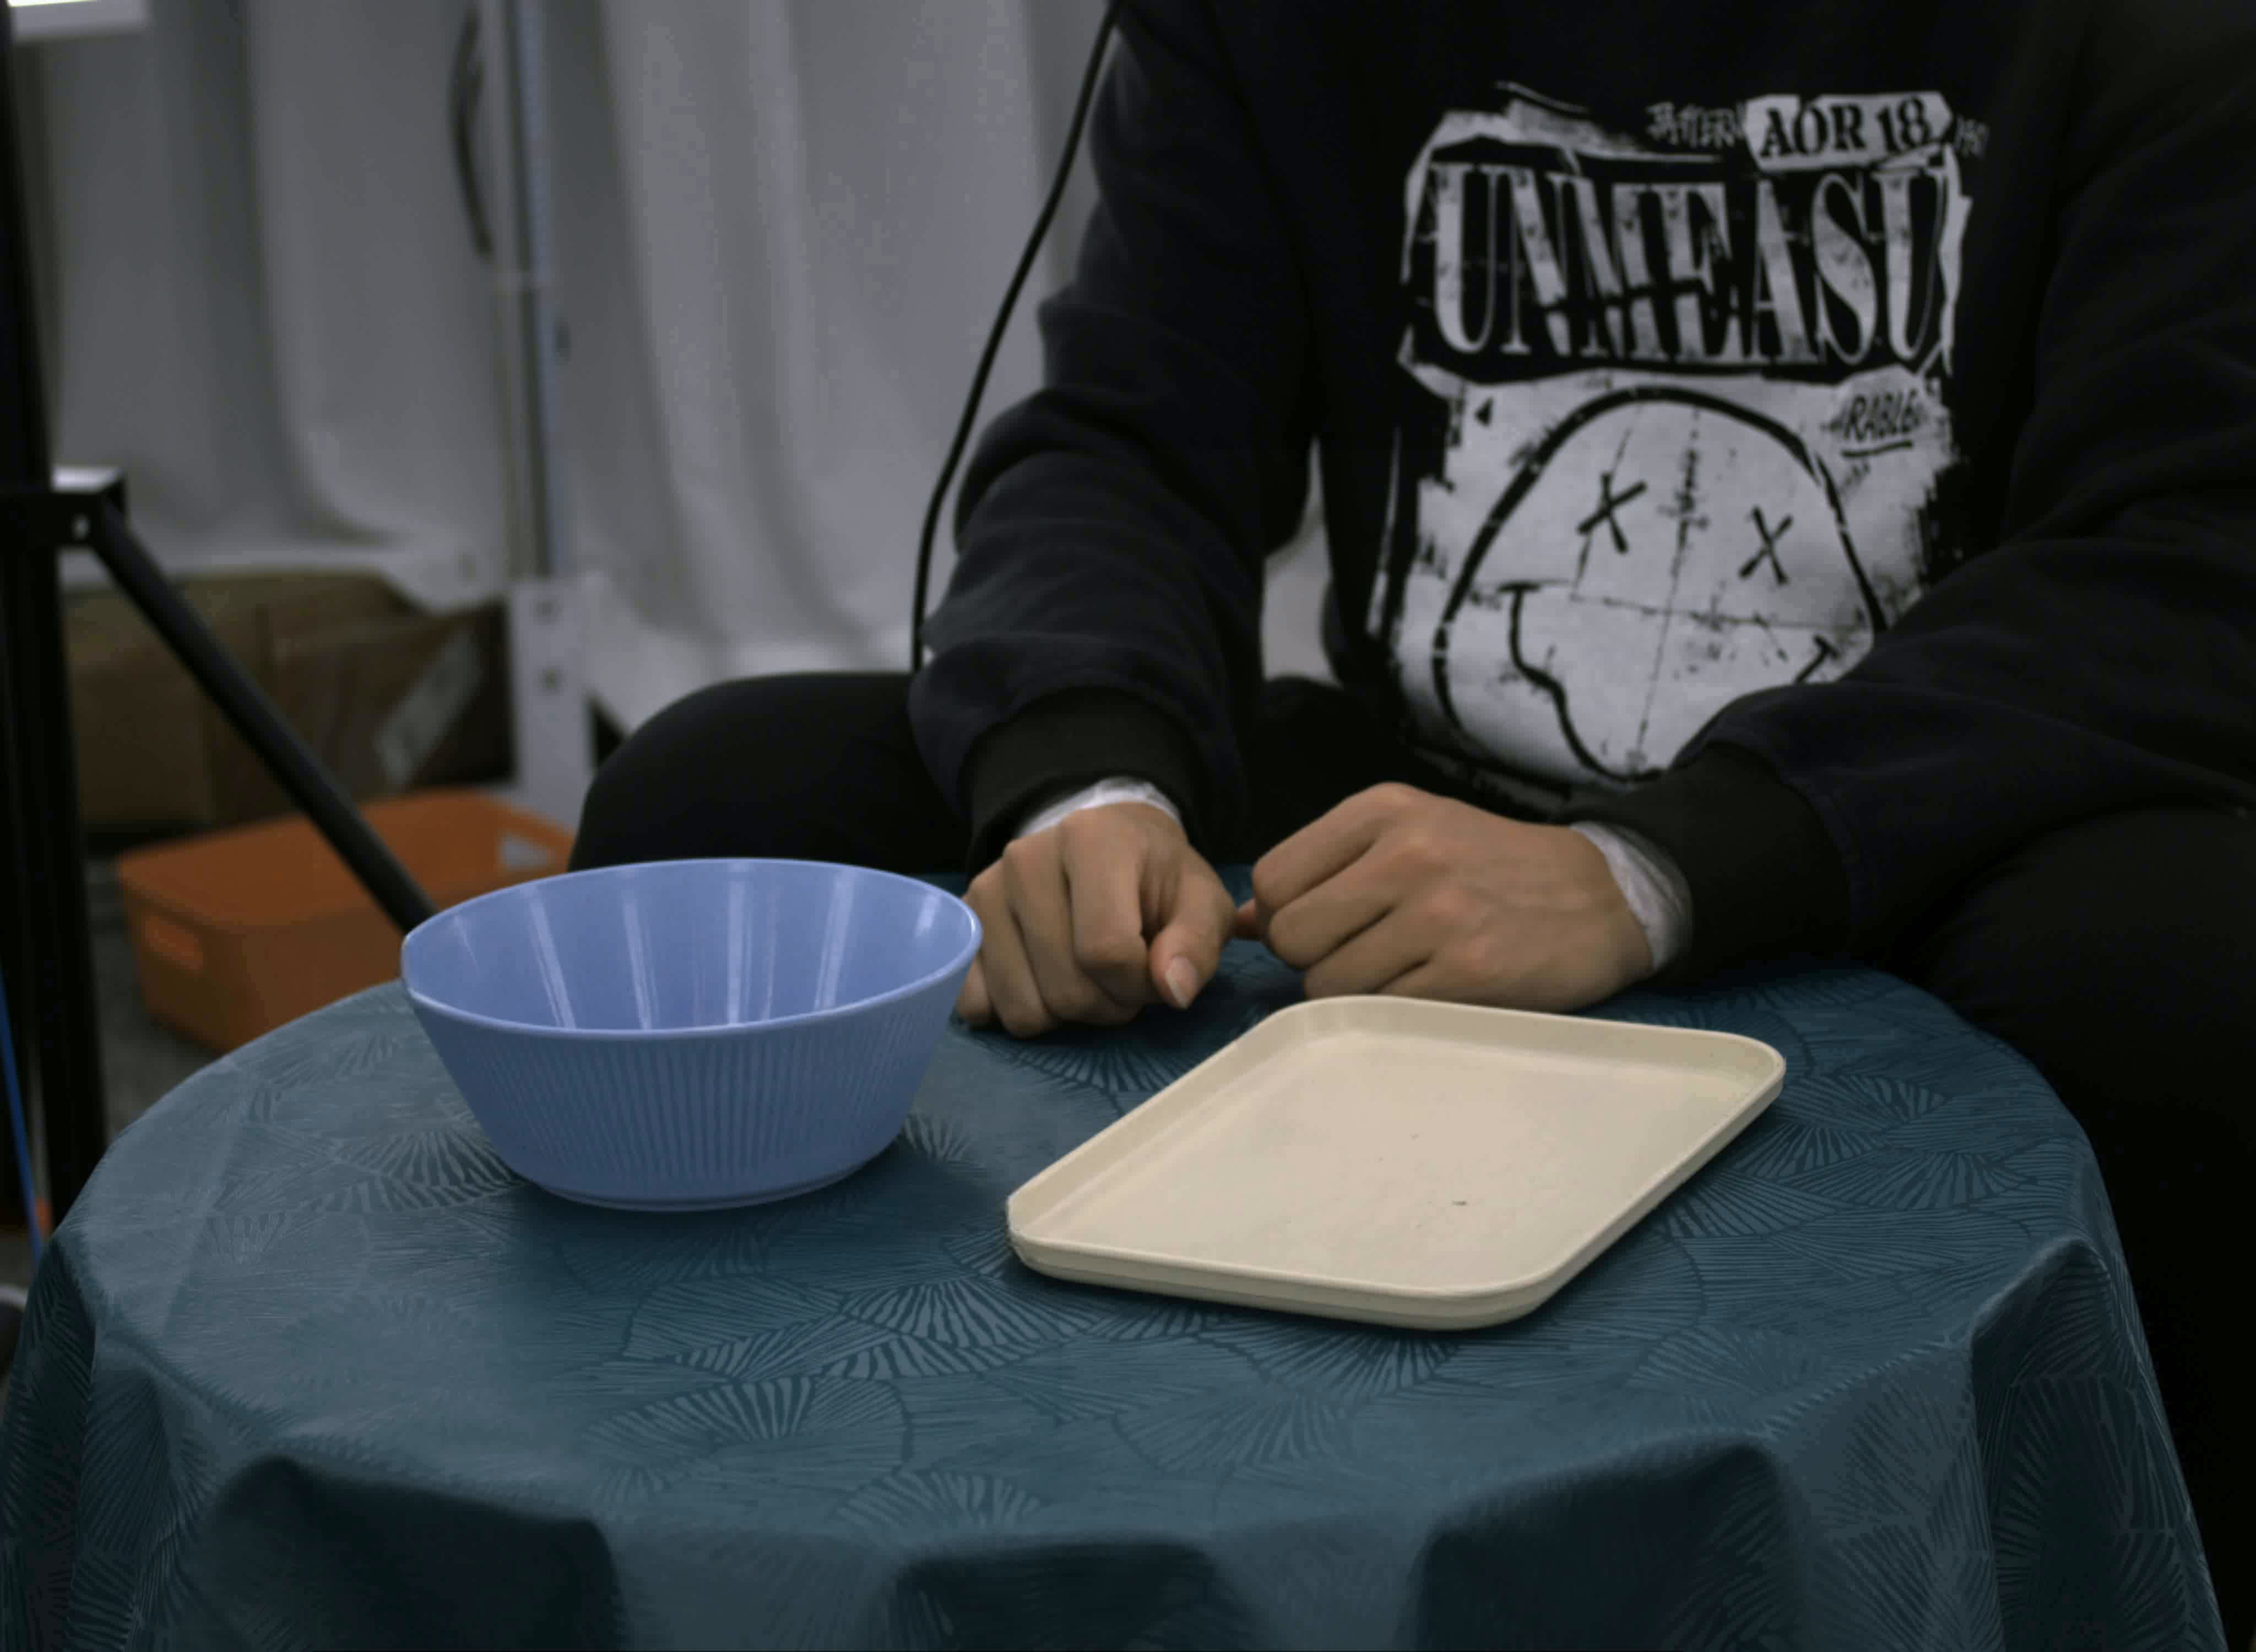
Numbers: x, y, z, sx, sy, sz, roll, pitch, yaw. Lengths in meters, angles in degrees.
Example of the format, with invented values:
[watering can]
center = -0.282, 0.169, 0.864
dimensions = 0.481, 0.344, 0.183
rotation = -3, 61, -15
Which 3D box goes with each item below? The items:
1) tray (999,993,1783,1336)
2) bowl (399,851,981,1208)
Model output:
[tray]
center = 0.081, 0.097, 1.549
dimensions = 0.174, 0.017, 0.236
rotation = 6, 18, 27
[bowl]
center = -0.130, 0.064, 1.604
dimensions = 0.175, 0.070, 0.177
rotation = -3, 16, -1
